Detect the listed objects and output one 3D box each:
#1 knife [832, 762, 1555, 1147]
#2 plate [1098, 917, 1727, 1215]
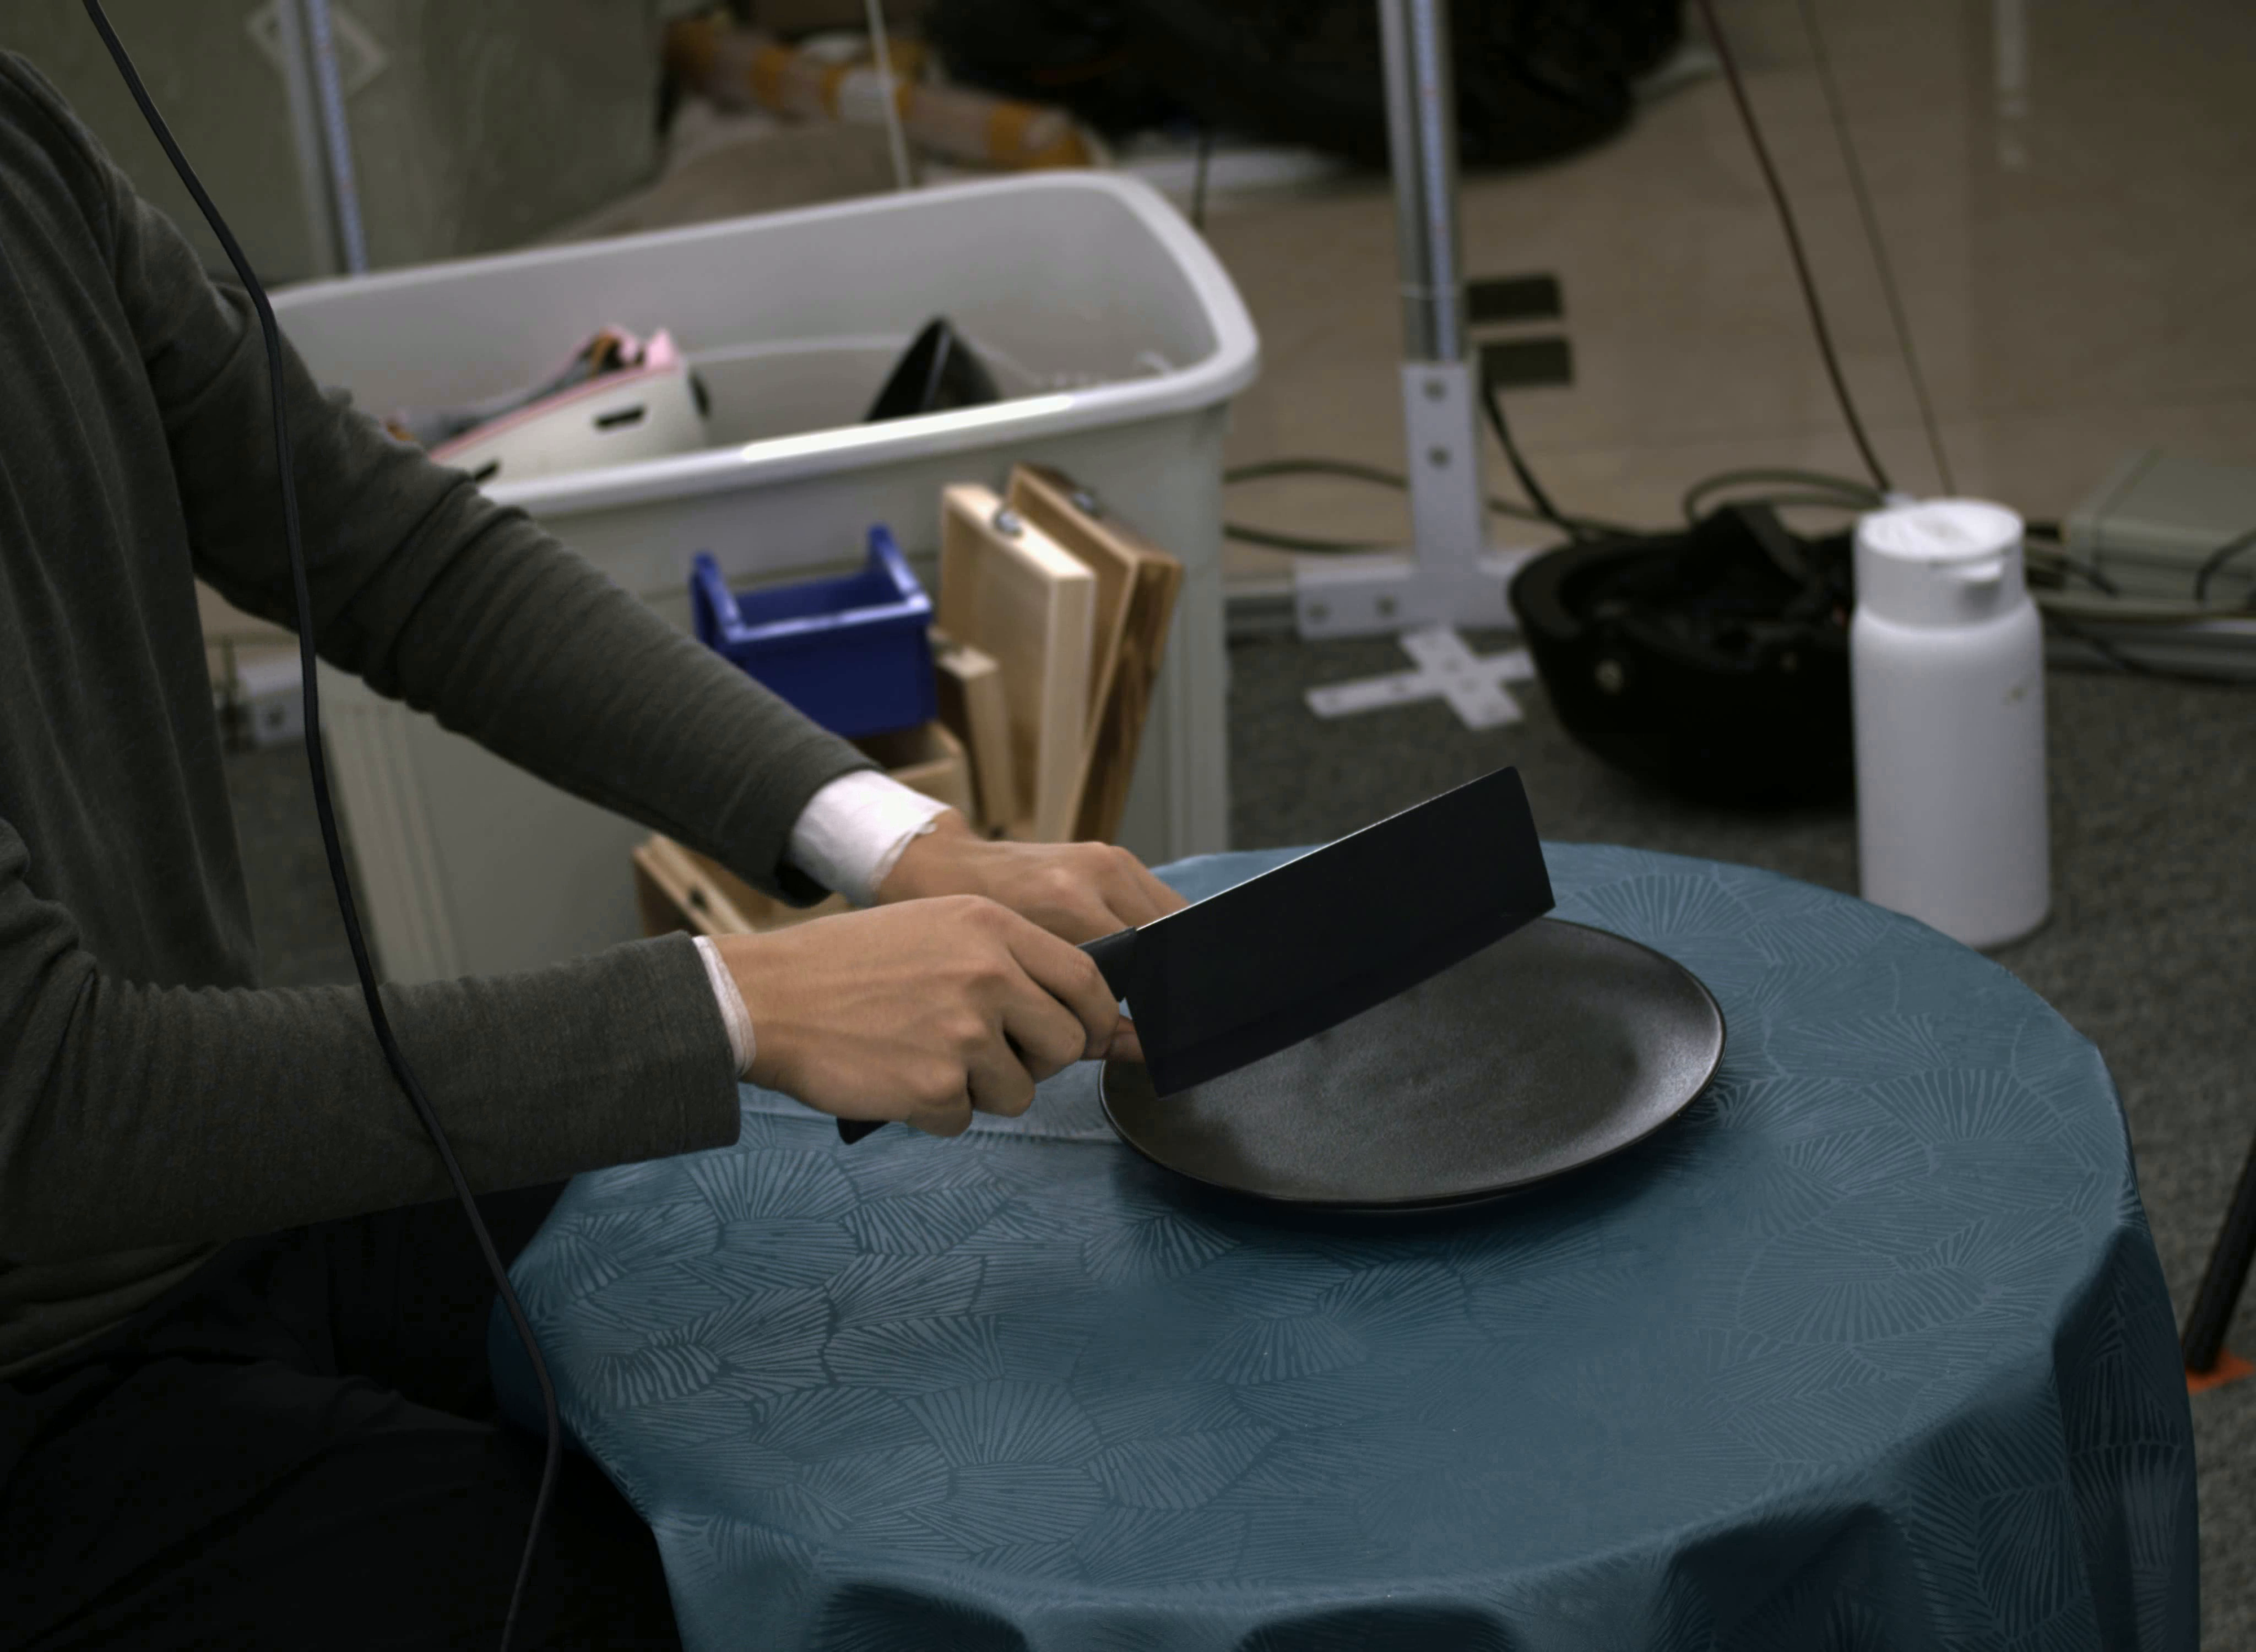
[{"bbox_3d":[0.026,0.057,2.098,0.301,0.082,0.021,-19,17,-21],"label":"knife"},{"bbox_3d":[0.110,0.096,2.189,0.244,0.024,0.241,-5,25,3],"label":"plate"}]
